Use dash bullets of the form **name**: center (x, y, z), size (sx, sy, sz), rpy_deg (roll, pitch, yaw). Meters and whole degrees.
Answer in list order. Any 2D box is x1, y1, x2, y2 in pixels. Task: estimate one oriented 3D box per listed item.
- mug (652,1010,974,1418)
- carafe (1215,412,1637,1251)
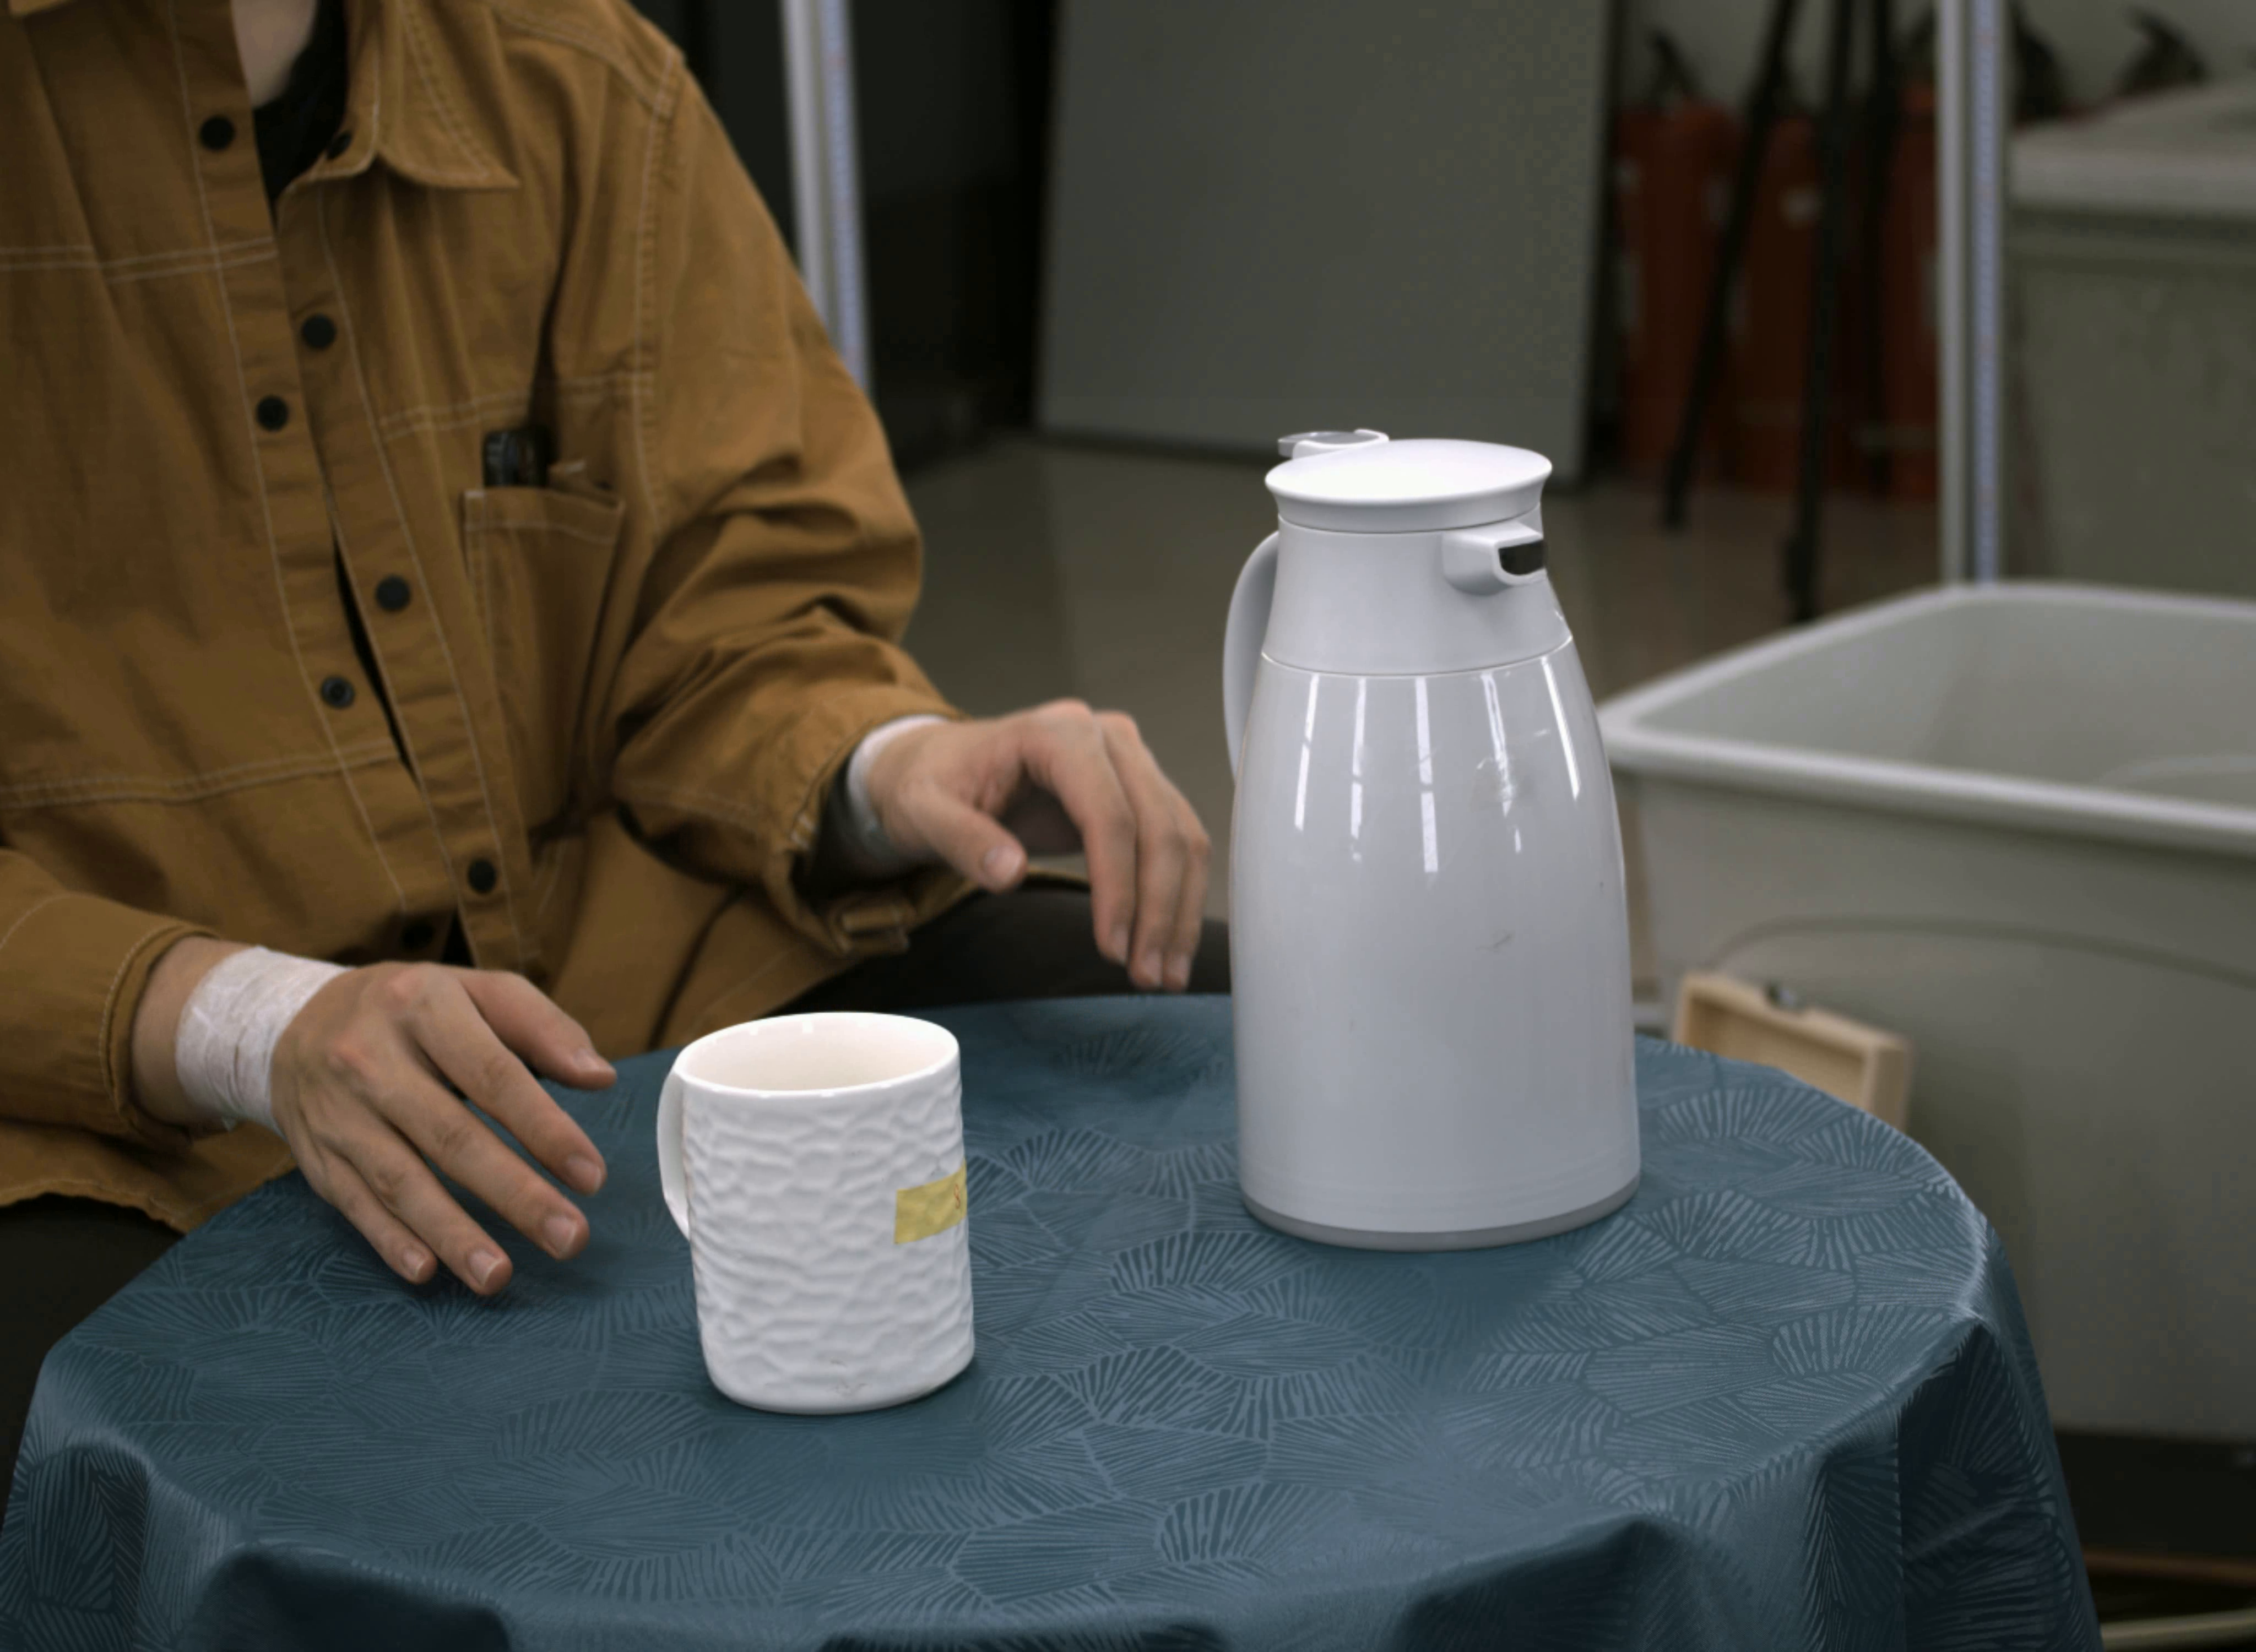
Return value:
- **mug**: center (-0.100, 0.114, 1.623), size (0.083, 0.103, 0.119), rpy_deg (-15, 17, -41)
- **carafe**: center (0.082, -0.006, 1.742), size (0.129, 0.251, 0.169), rpy_deg (-12, 15, -30)
